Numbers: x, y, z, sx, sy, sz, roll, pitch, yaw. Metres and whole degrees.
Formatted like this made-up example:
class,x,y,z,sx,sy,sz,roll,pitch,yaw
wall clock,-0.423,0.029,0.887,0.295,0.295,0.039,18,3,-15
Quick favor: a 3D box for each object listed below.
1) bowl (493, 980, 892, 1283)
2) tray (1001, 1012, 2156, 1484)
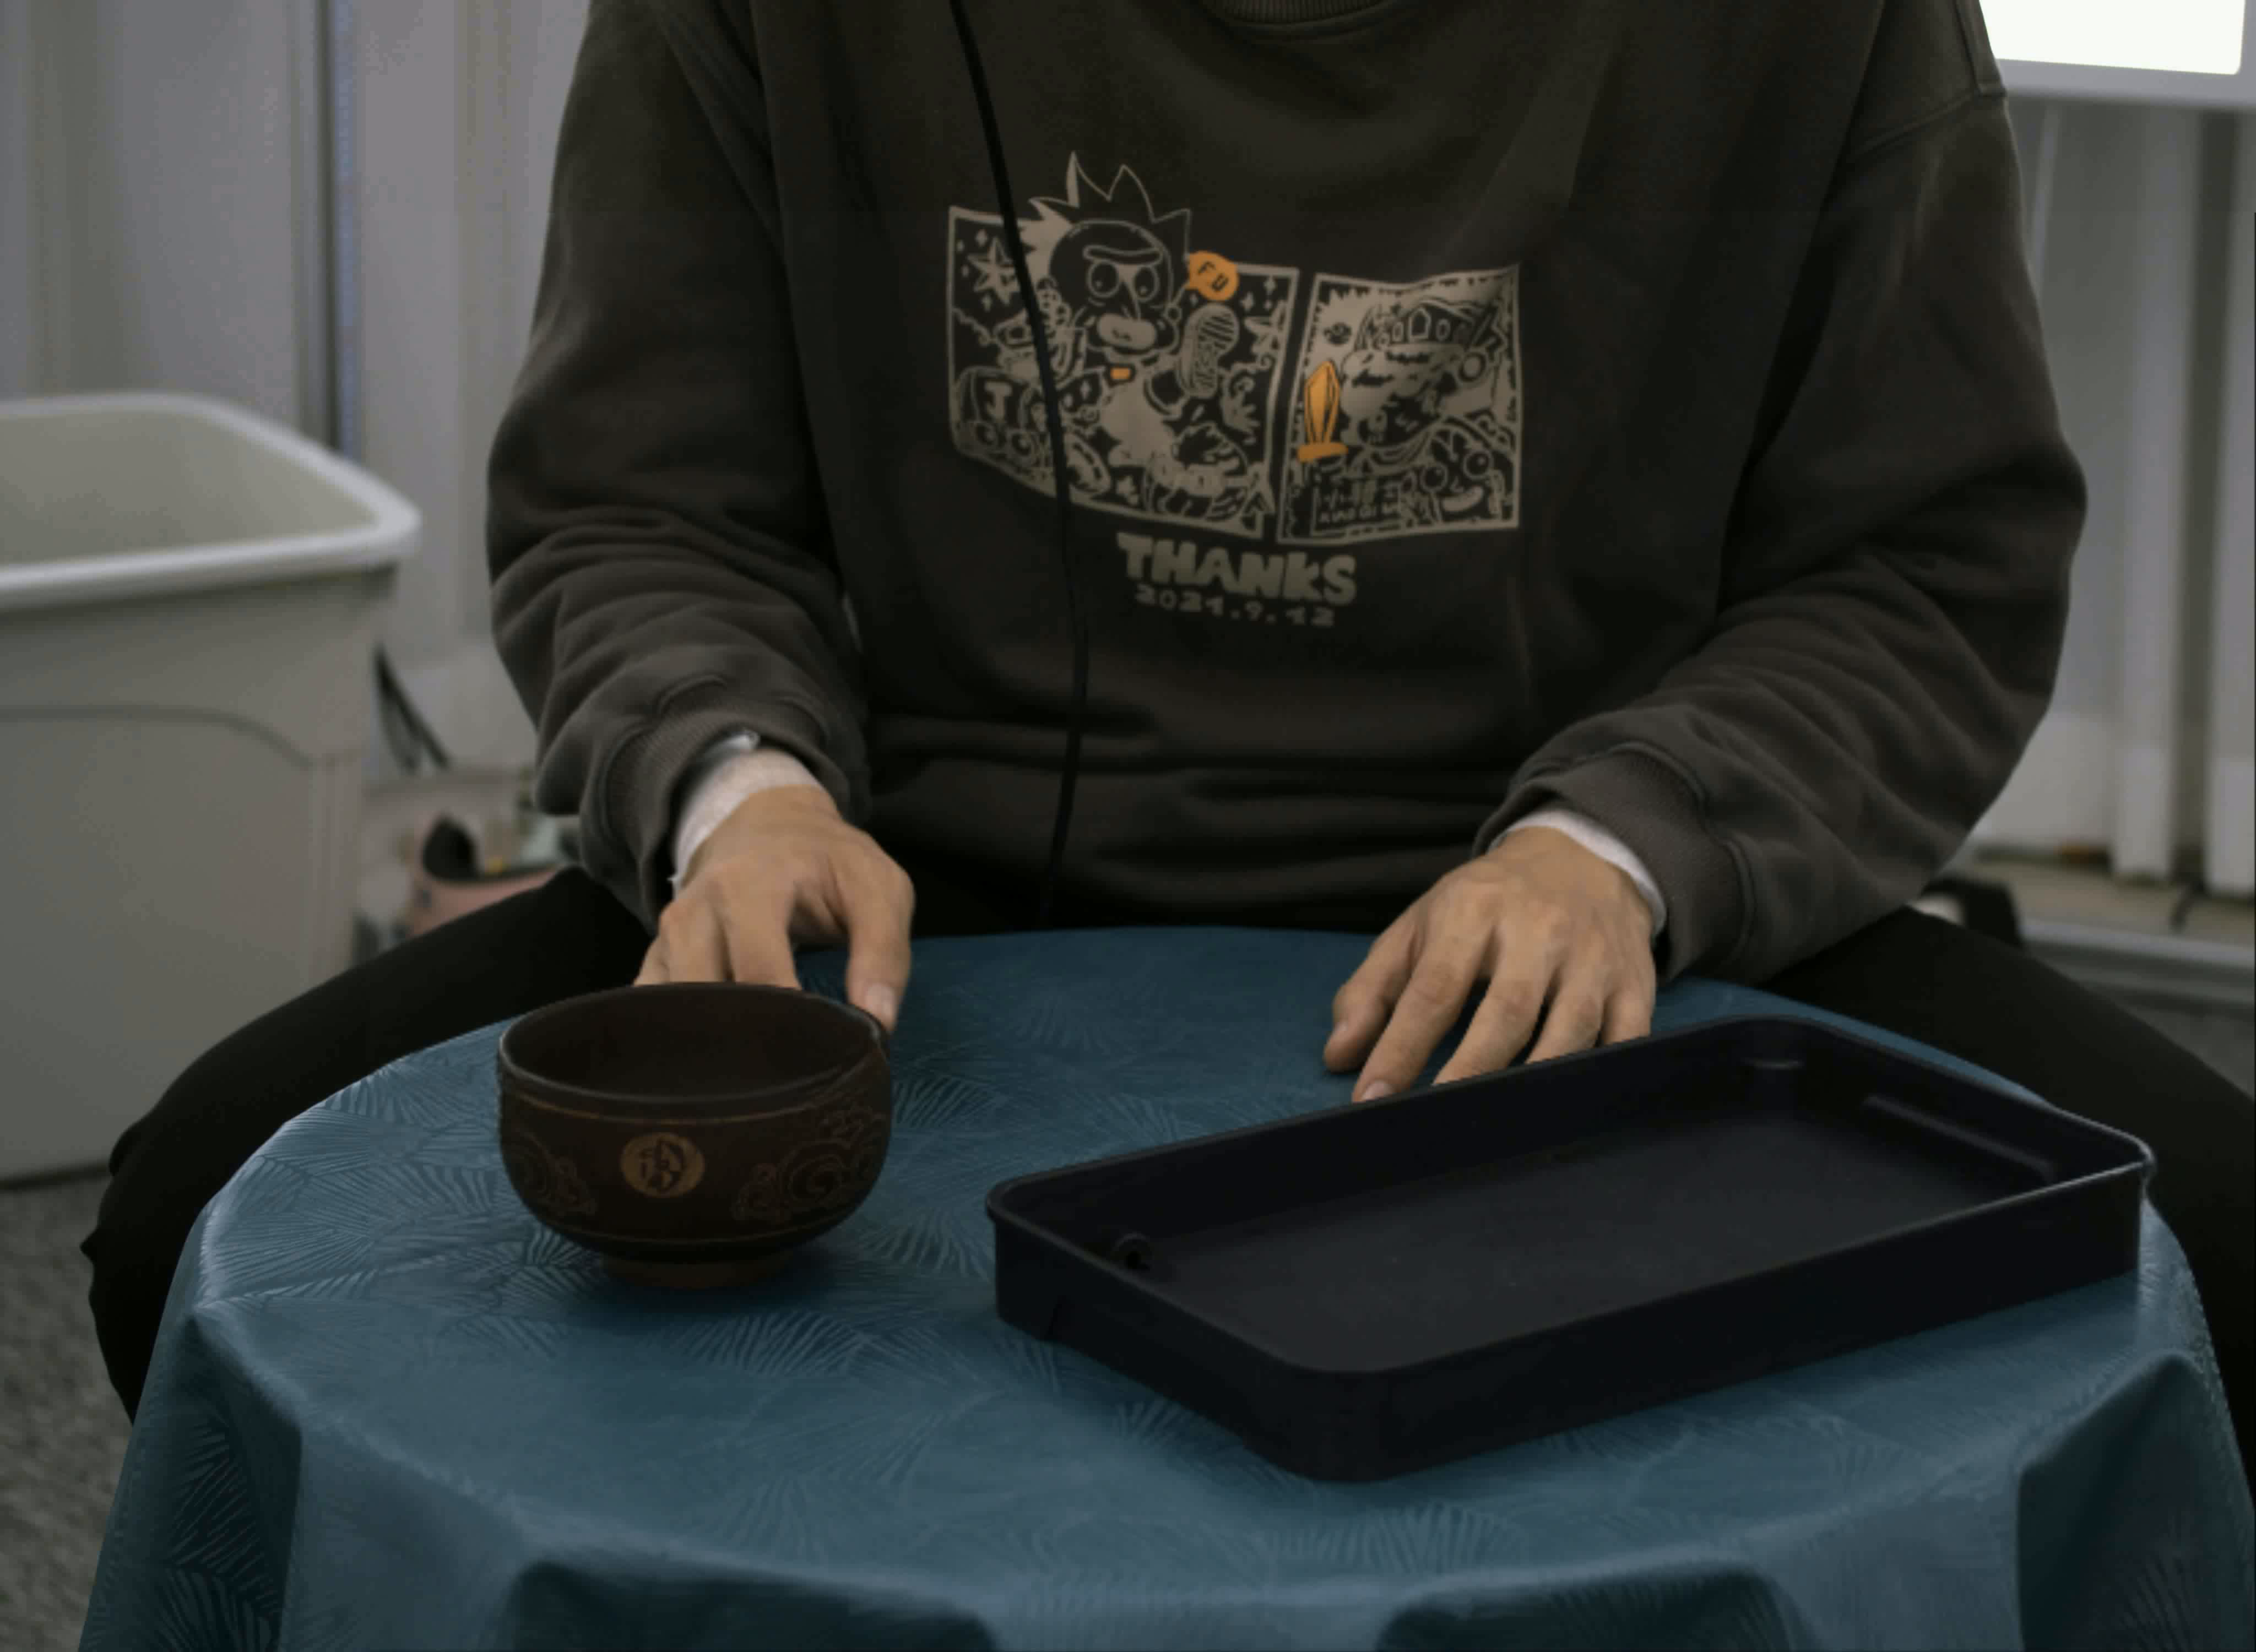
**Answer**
class,x,y,z,sx,sy,sz,roll,pitch,yaw
bowl,-0.128,0.094,1.559,0.117,0.070,0.117,0,14,1
tray,0.135,0.118,1.551,0.319,0.037,0.182,-11,19,-36
